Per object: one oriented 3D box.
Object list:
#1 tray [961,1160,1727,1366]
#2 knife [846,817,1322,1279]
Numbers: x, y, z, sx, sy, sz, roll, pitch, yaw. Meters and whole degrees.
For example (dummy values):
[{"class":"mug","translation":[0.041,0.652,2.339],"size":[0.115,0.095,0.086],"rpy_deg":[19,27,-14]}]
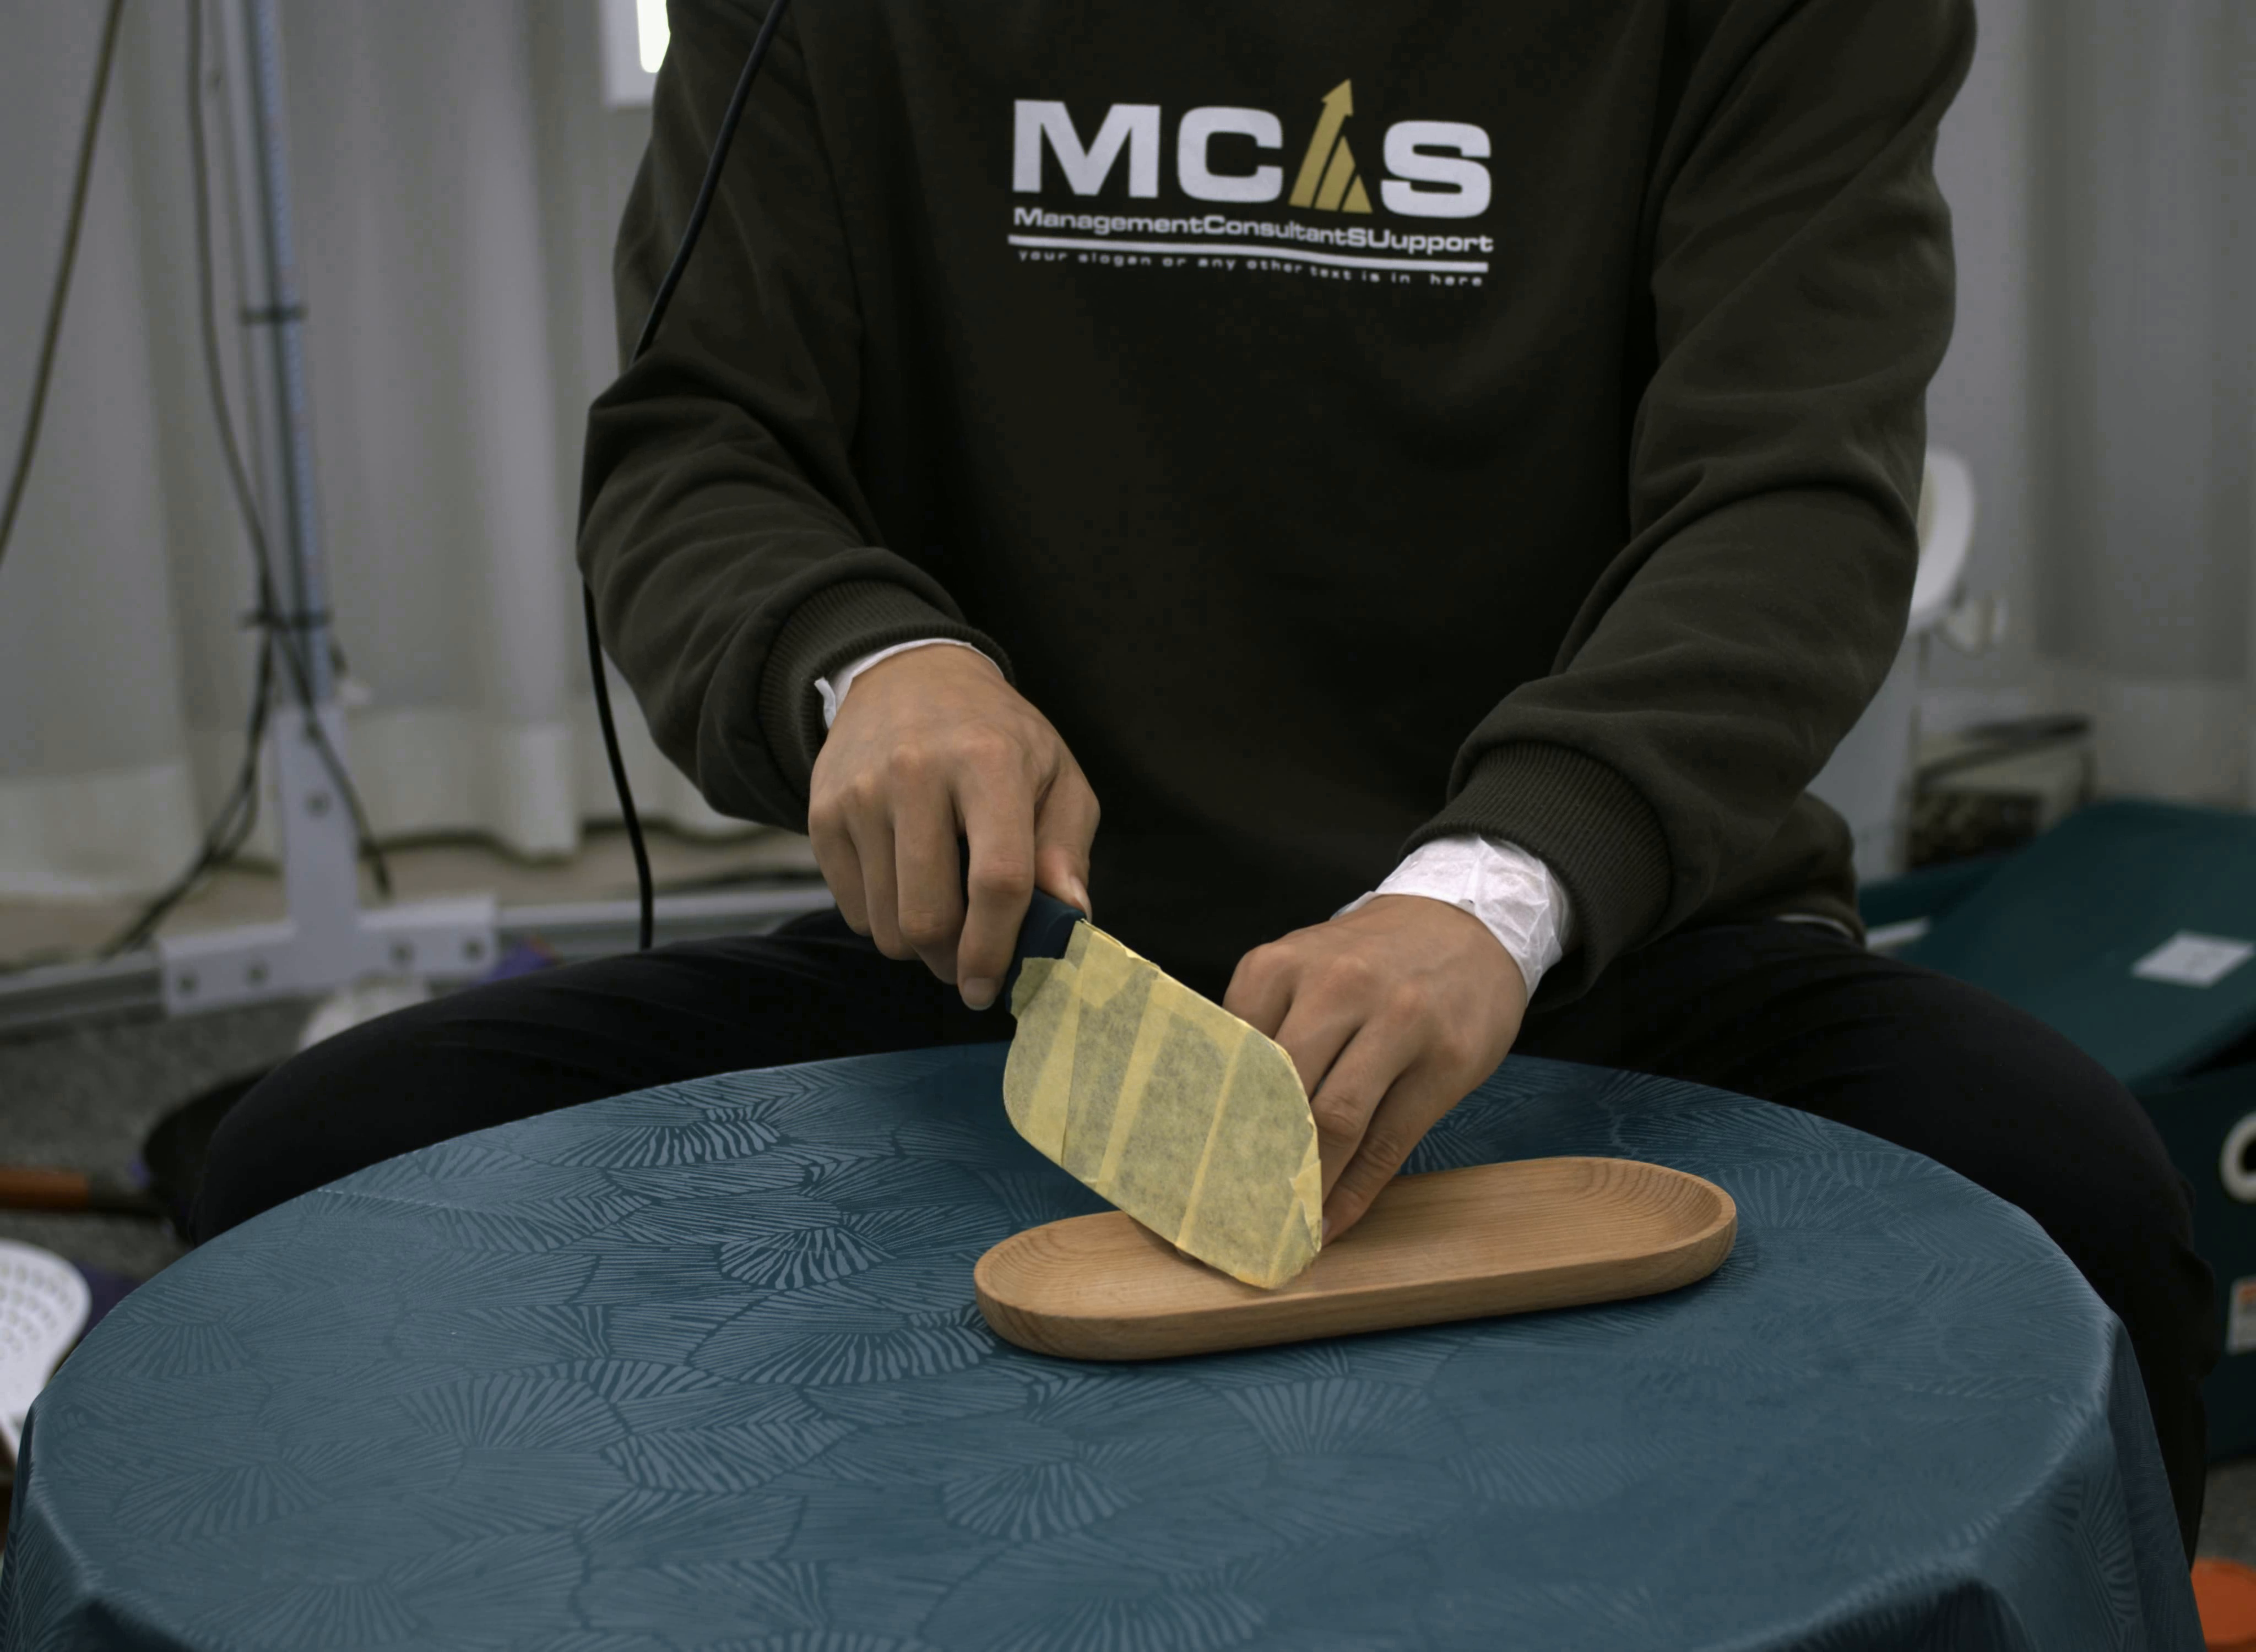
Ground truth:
[{"class":"tray","translation":[0.065,0.130,1.619],"size":[0.230,0.020,0.102],"rpy_deg":[-8,13,-11]},{"class":"knife","translation":[-0.017,0.064,1.689],"size":[0.027,0.081,0.292],"rpy_deg":[13,14,-35]}]
